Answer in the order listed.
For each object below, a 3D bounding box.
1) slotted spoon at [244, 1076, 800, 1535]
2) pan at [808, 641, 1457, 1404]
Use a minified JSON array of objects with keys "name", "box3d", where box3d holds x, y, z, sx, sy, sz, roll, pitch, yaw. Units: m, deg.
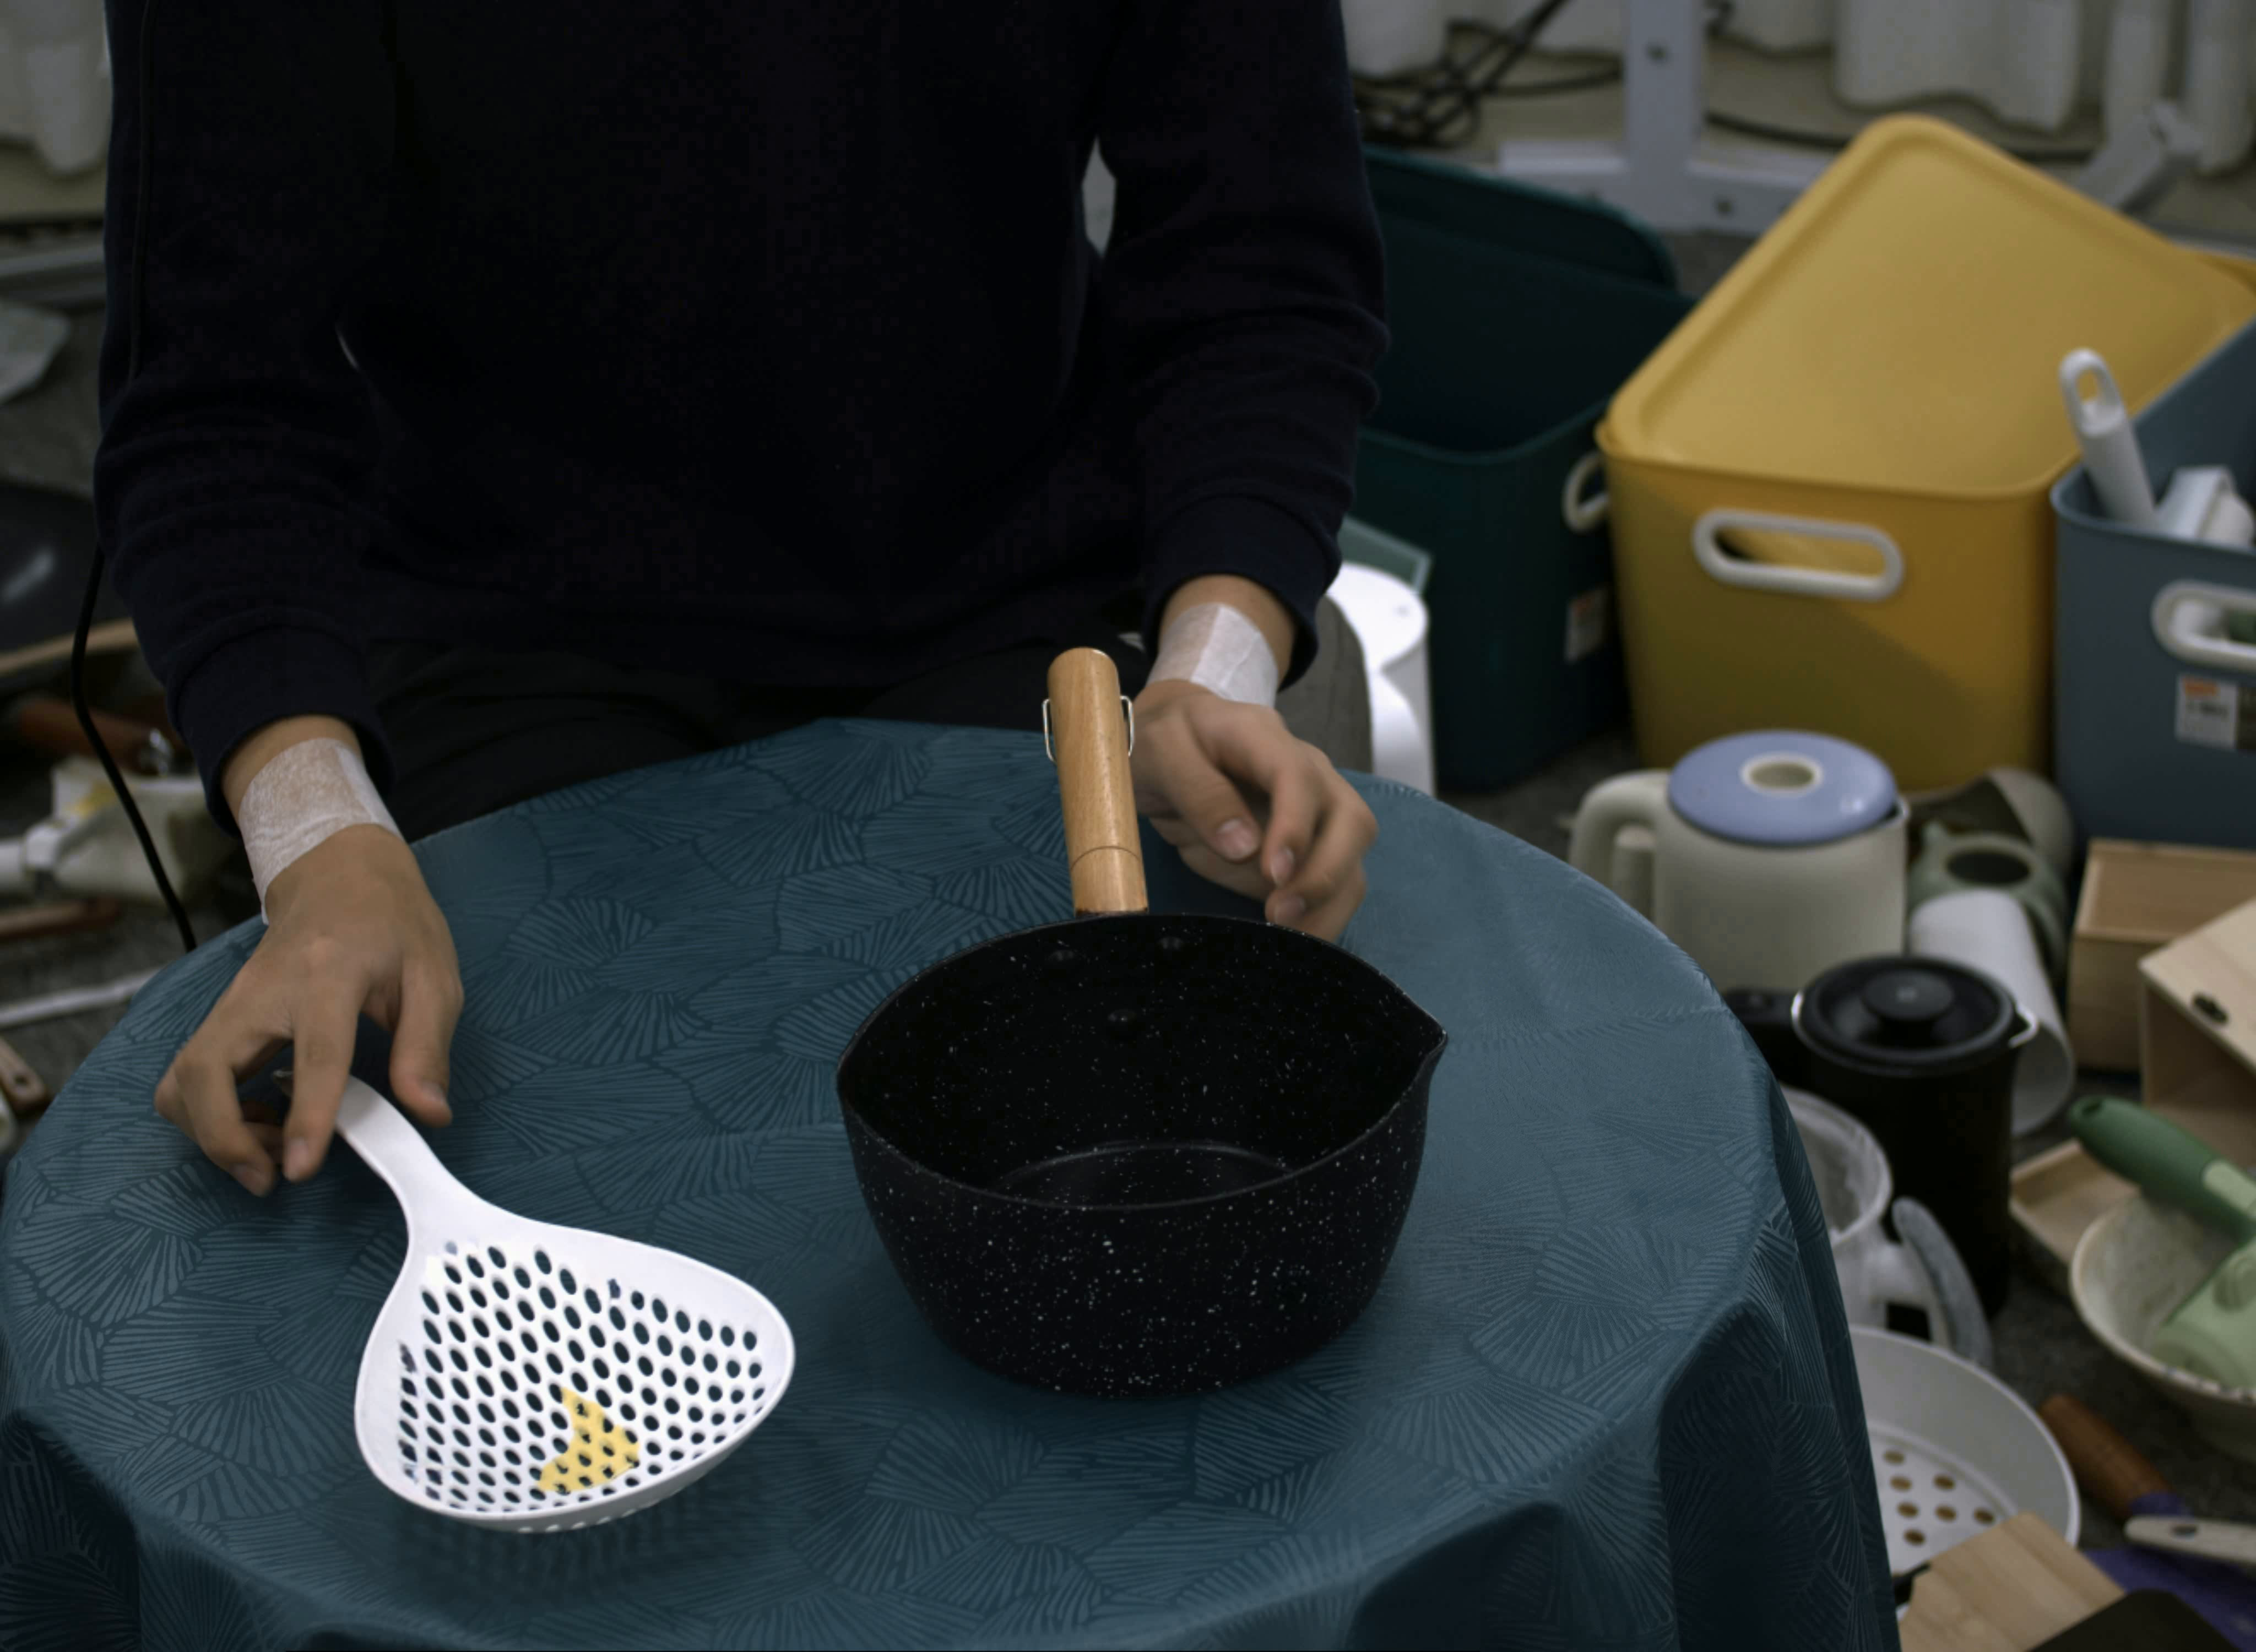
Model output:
[{"name":"slotted spoon","box3d":[-0.216,0.140,1.803,0.137,0.050,0.350,-22,34,-20]},{"name":"pan","box3d":[-0.004,0.061,1.863,0.207,0.107,0.348,-6,29,-3]}]
